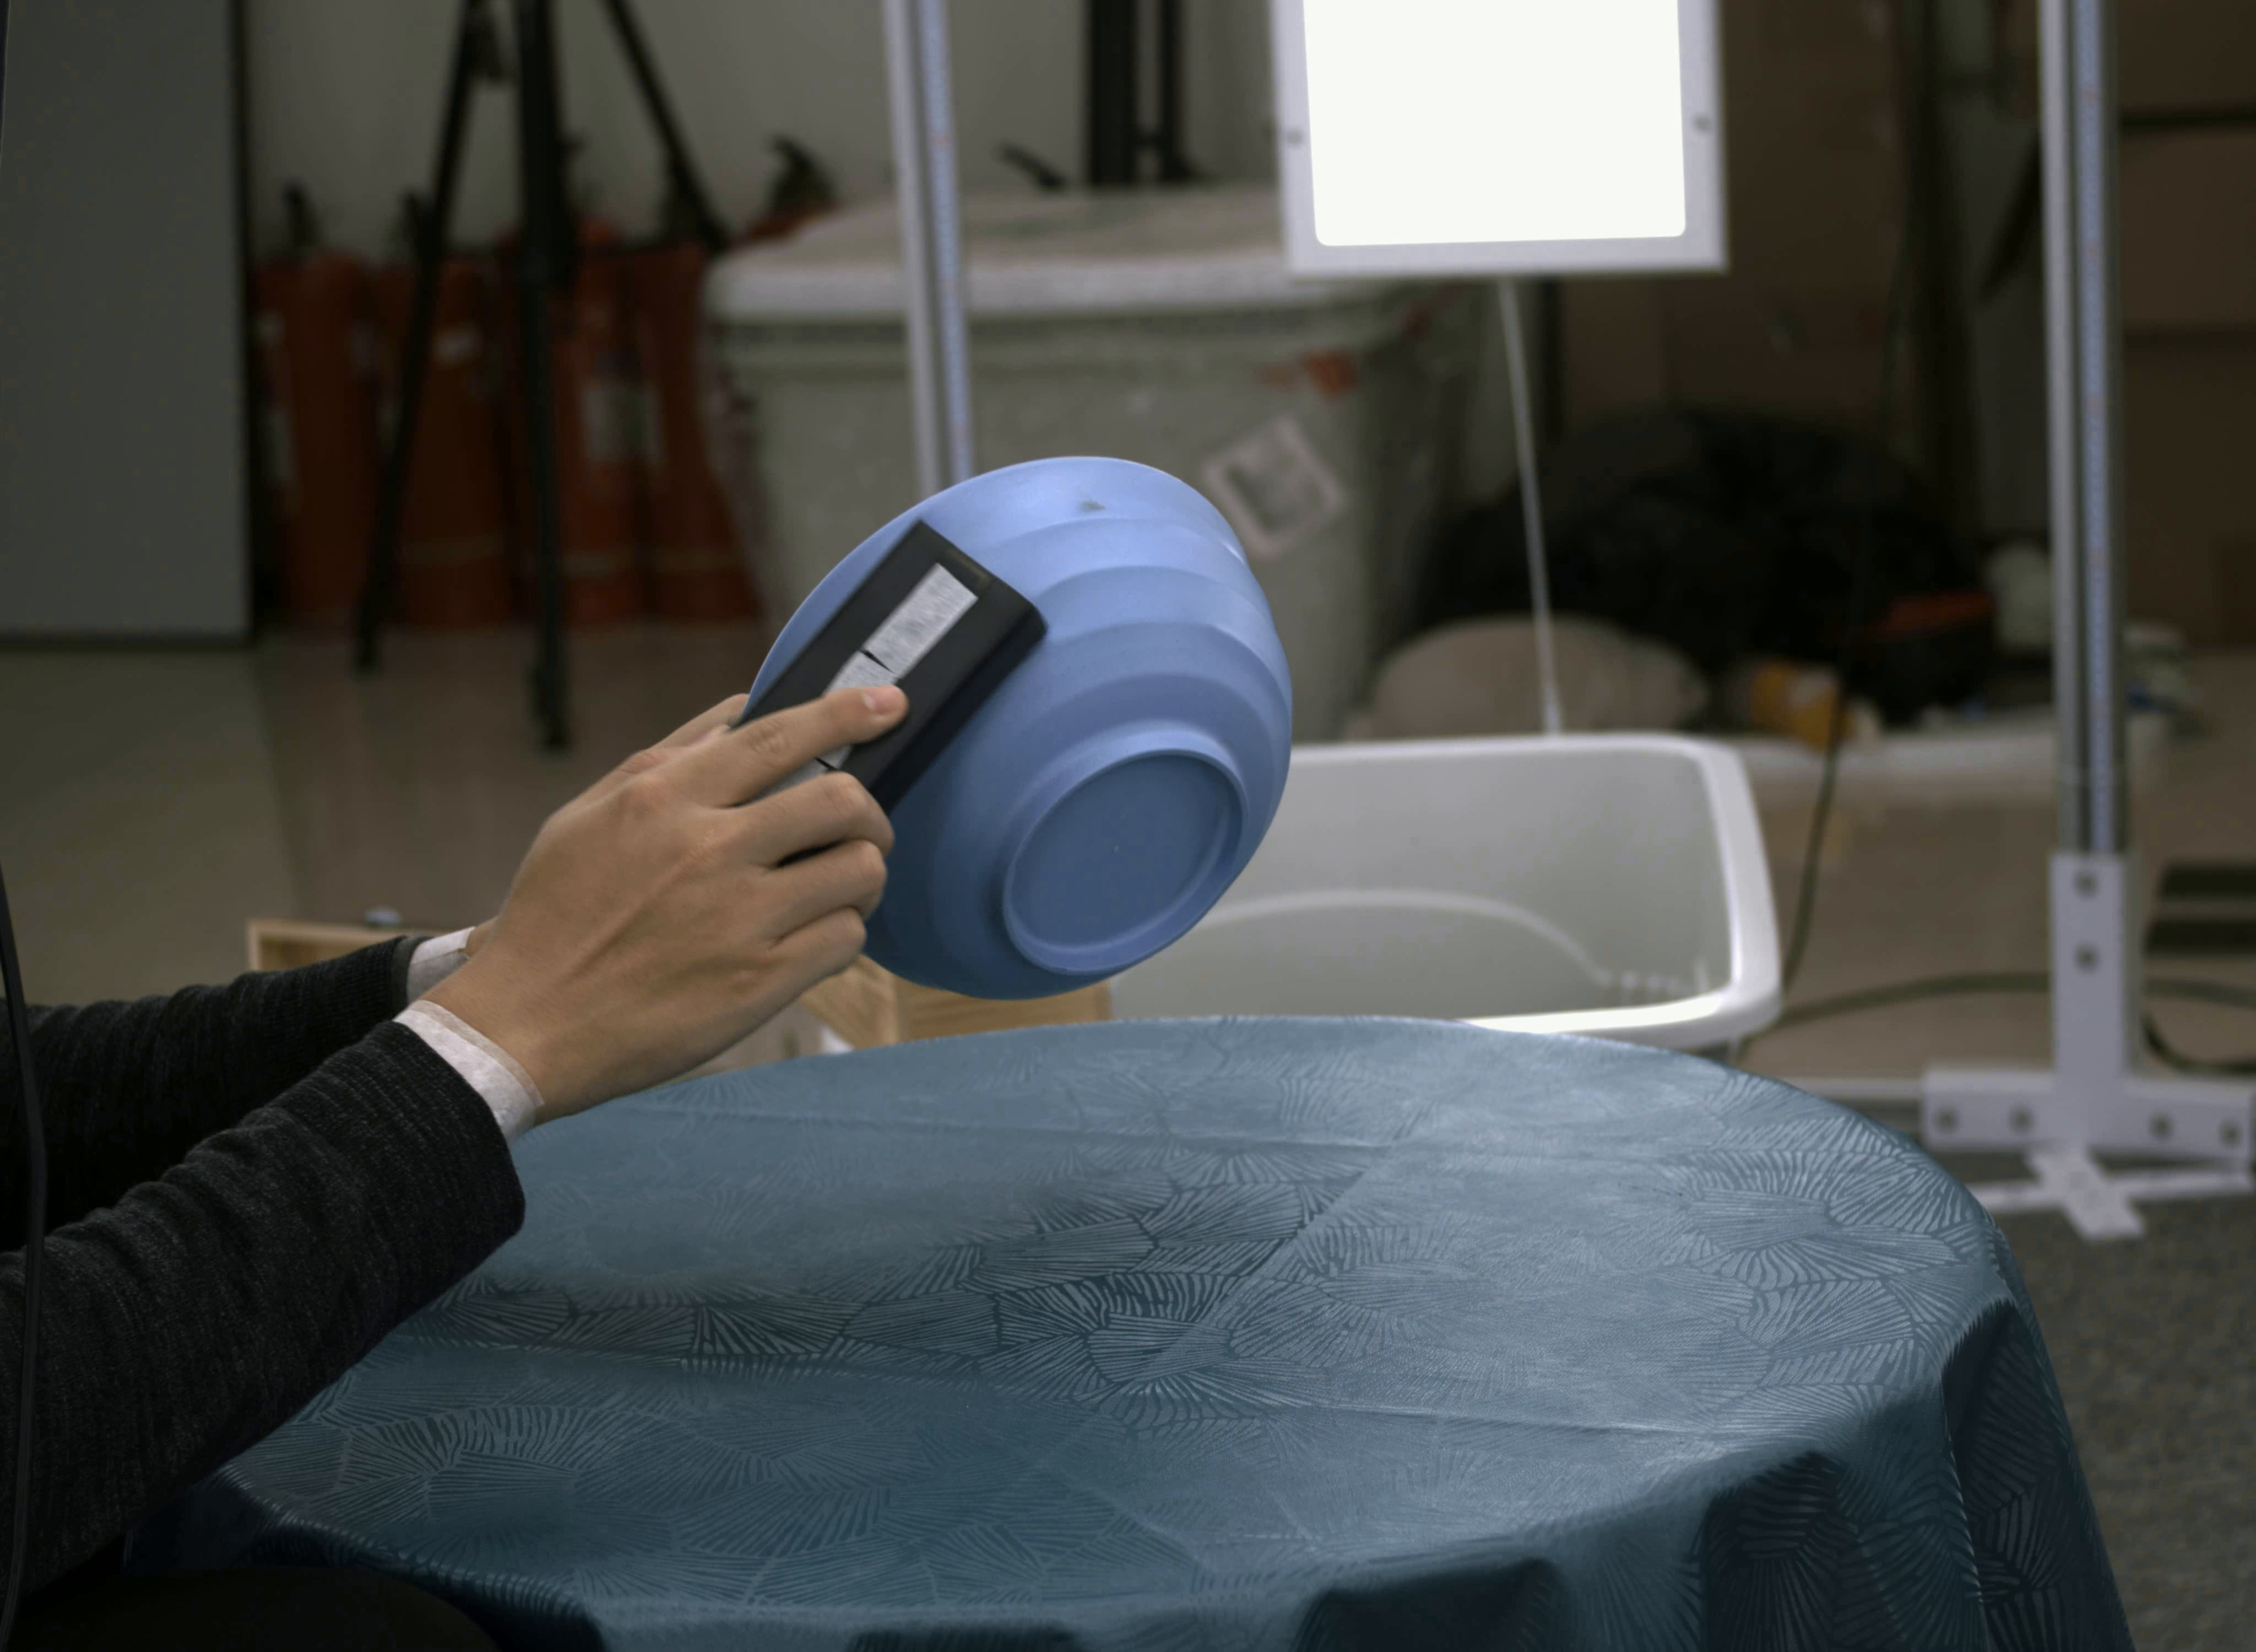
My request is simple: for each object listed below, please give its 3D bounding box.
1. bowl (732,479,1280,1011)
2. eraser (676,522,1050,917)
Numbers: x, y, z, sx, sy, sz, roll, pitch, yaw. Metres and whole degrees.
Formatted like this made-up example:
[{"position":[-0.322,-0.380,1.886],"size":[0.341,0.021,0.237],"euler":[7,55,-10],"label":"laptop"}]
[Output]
[{"position":[-0.025,-0.009,1.817],"size":[0.192,0.199,0.096],"euler":[-12,47,-29],"label":"bowl"},{"position":[-0.082,-0.034,1.726],"size":[0.054,0.124,0.030],"euler":[35,-13,20],"label":"eraser"}]
